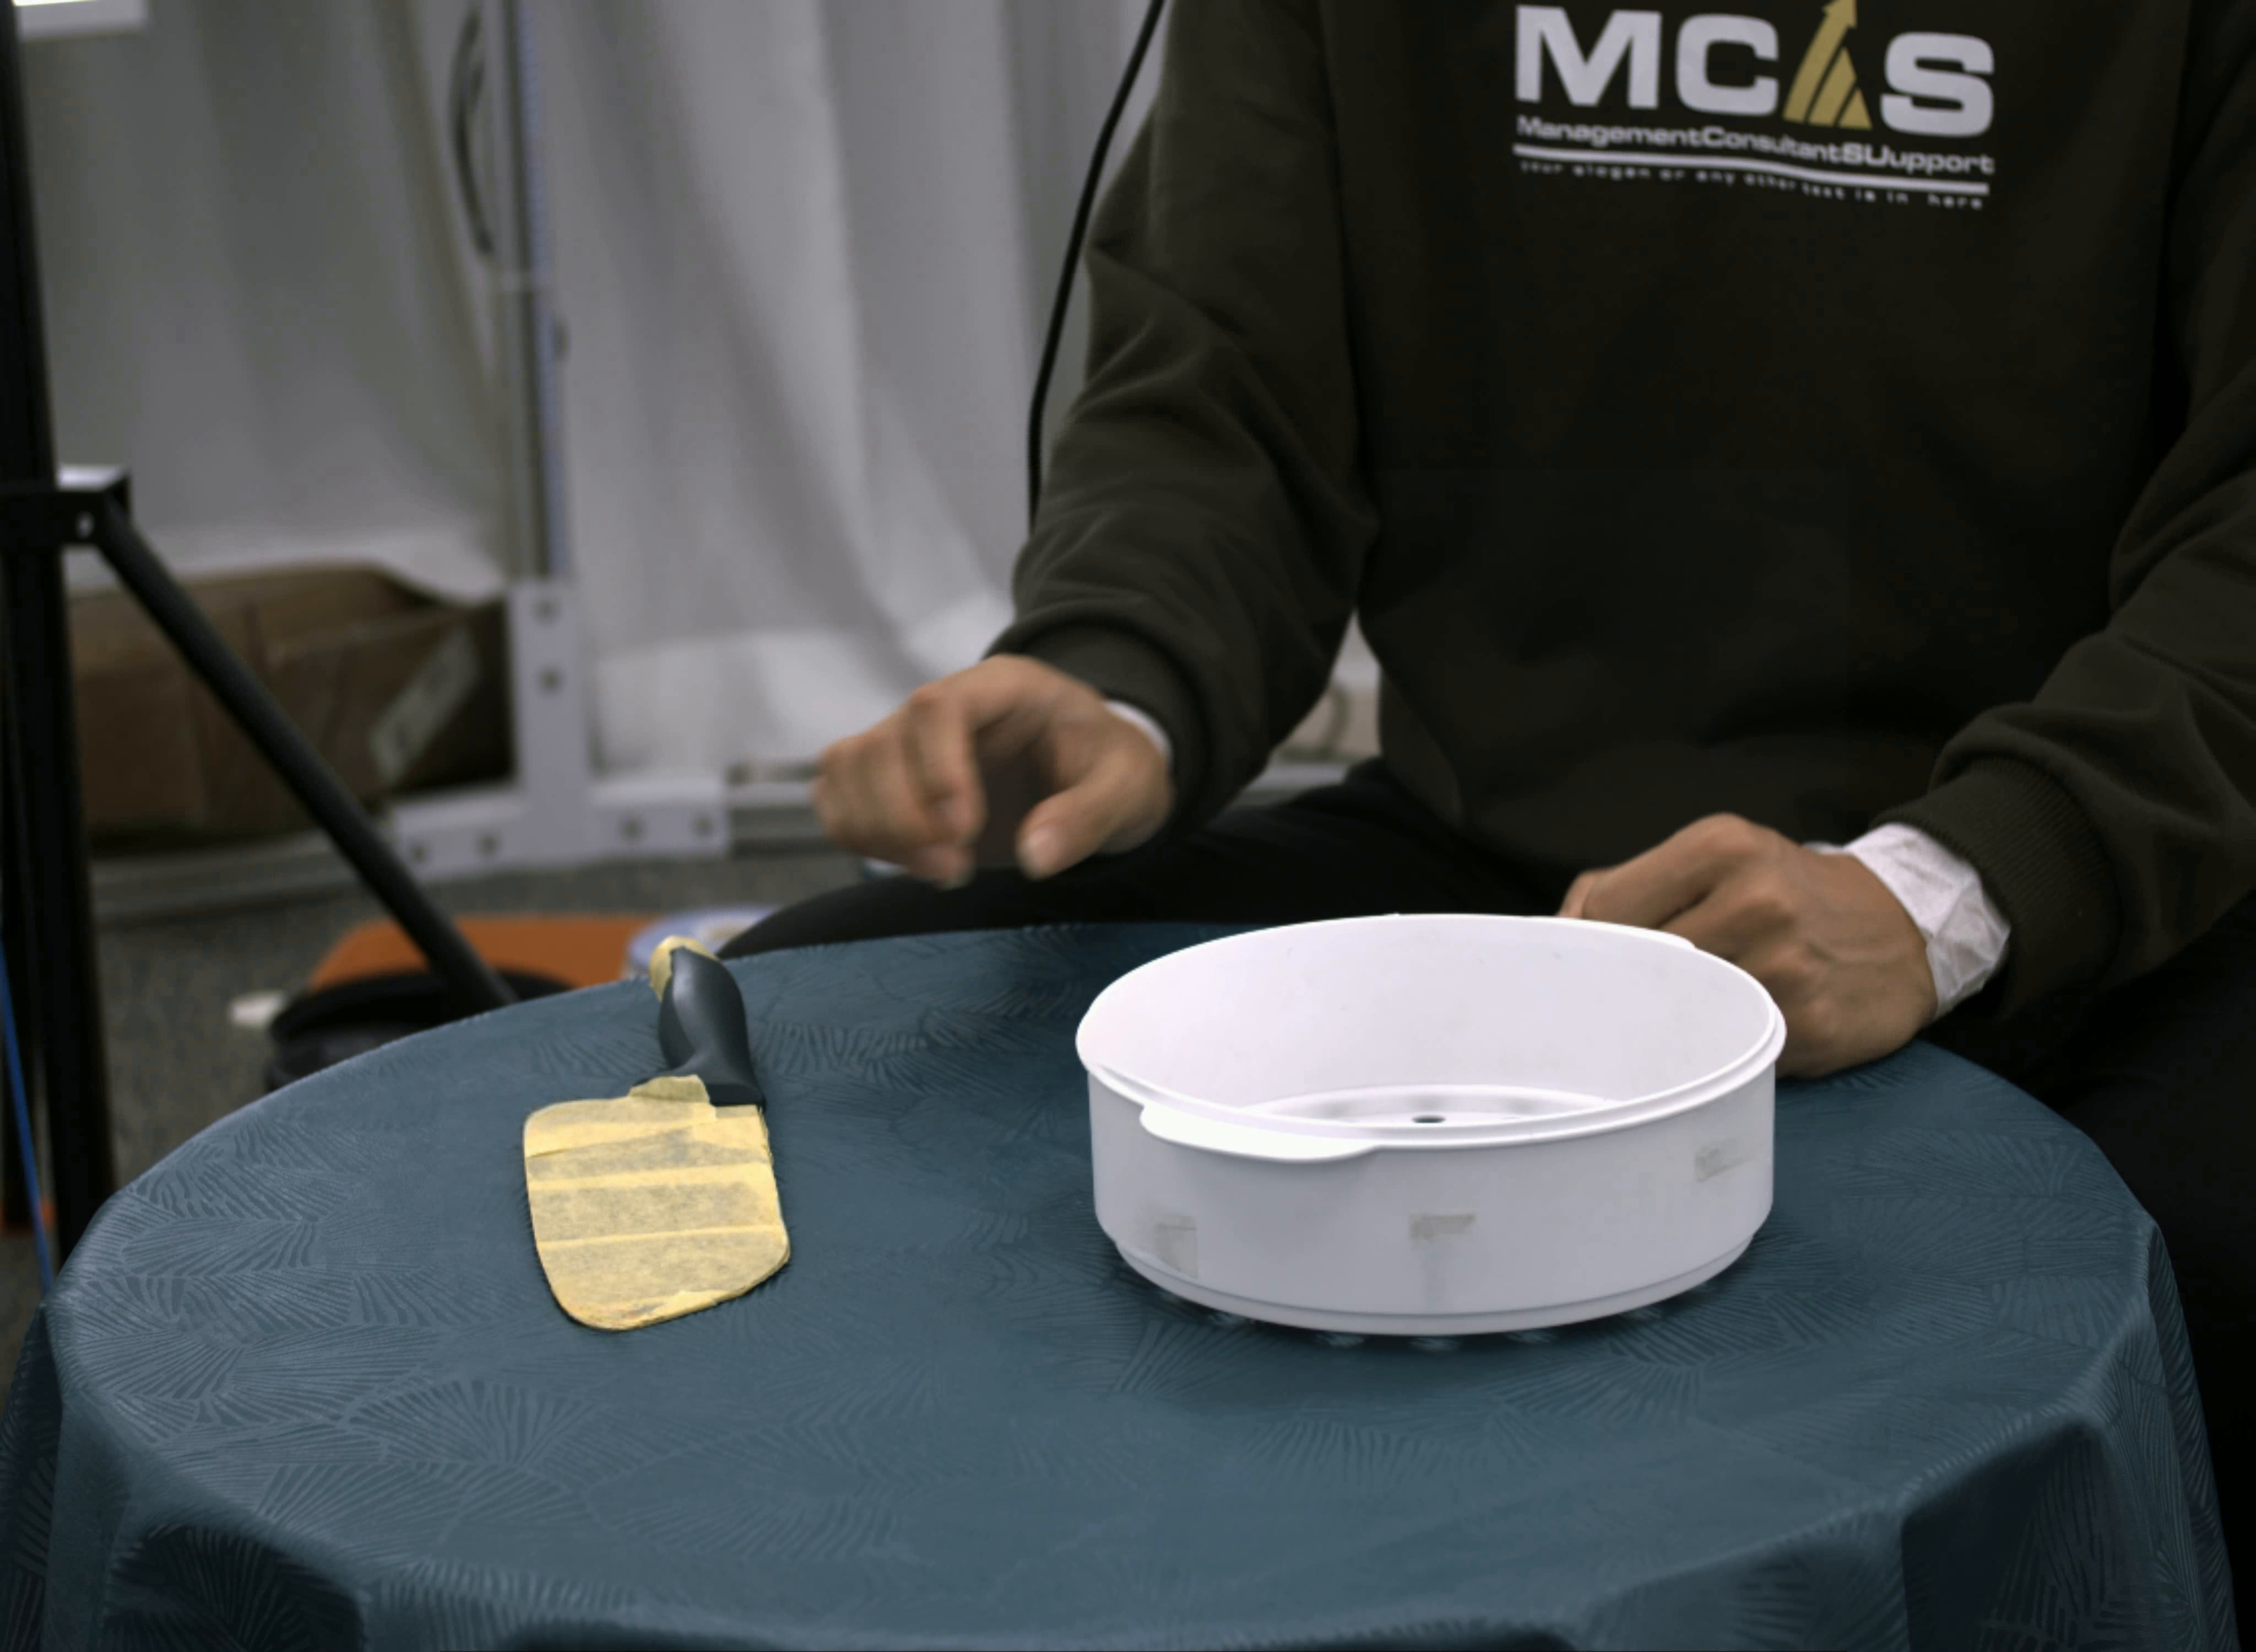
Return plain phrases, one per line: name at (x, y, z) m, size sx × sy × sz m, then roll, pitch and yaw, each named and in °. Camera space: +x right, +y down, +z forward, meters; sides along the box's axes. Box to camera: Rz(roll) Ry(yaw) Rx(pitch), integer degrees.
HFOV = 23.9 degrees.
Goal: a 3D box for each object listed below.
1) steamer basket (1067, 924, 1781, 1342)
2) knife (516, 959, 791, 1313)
steamer basket at (0.083, 0.087, 1.502) m, size 0.206 × 0.069 × 0.226 m, roll 9°, pitch 18°, yaw 33°
knife at (-0.144, 0.093, 1.609) m, size 0.080 × 0.027 × 0.292 m, roll -1°, pitch 17°, yaw -5°
